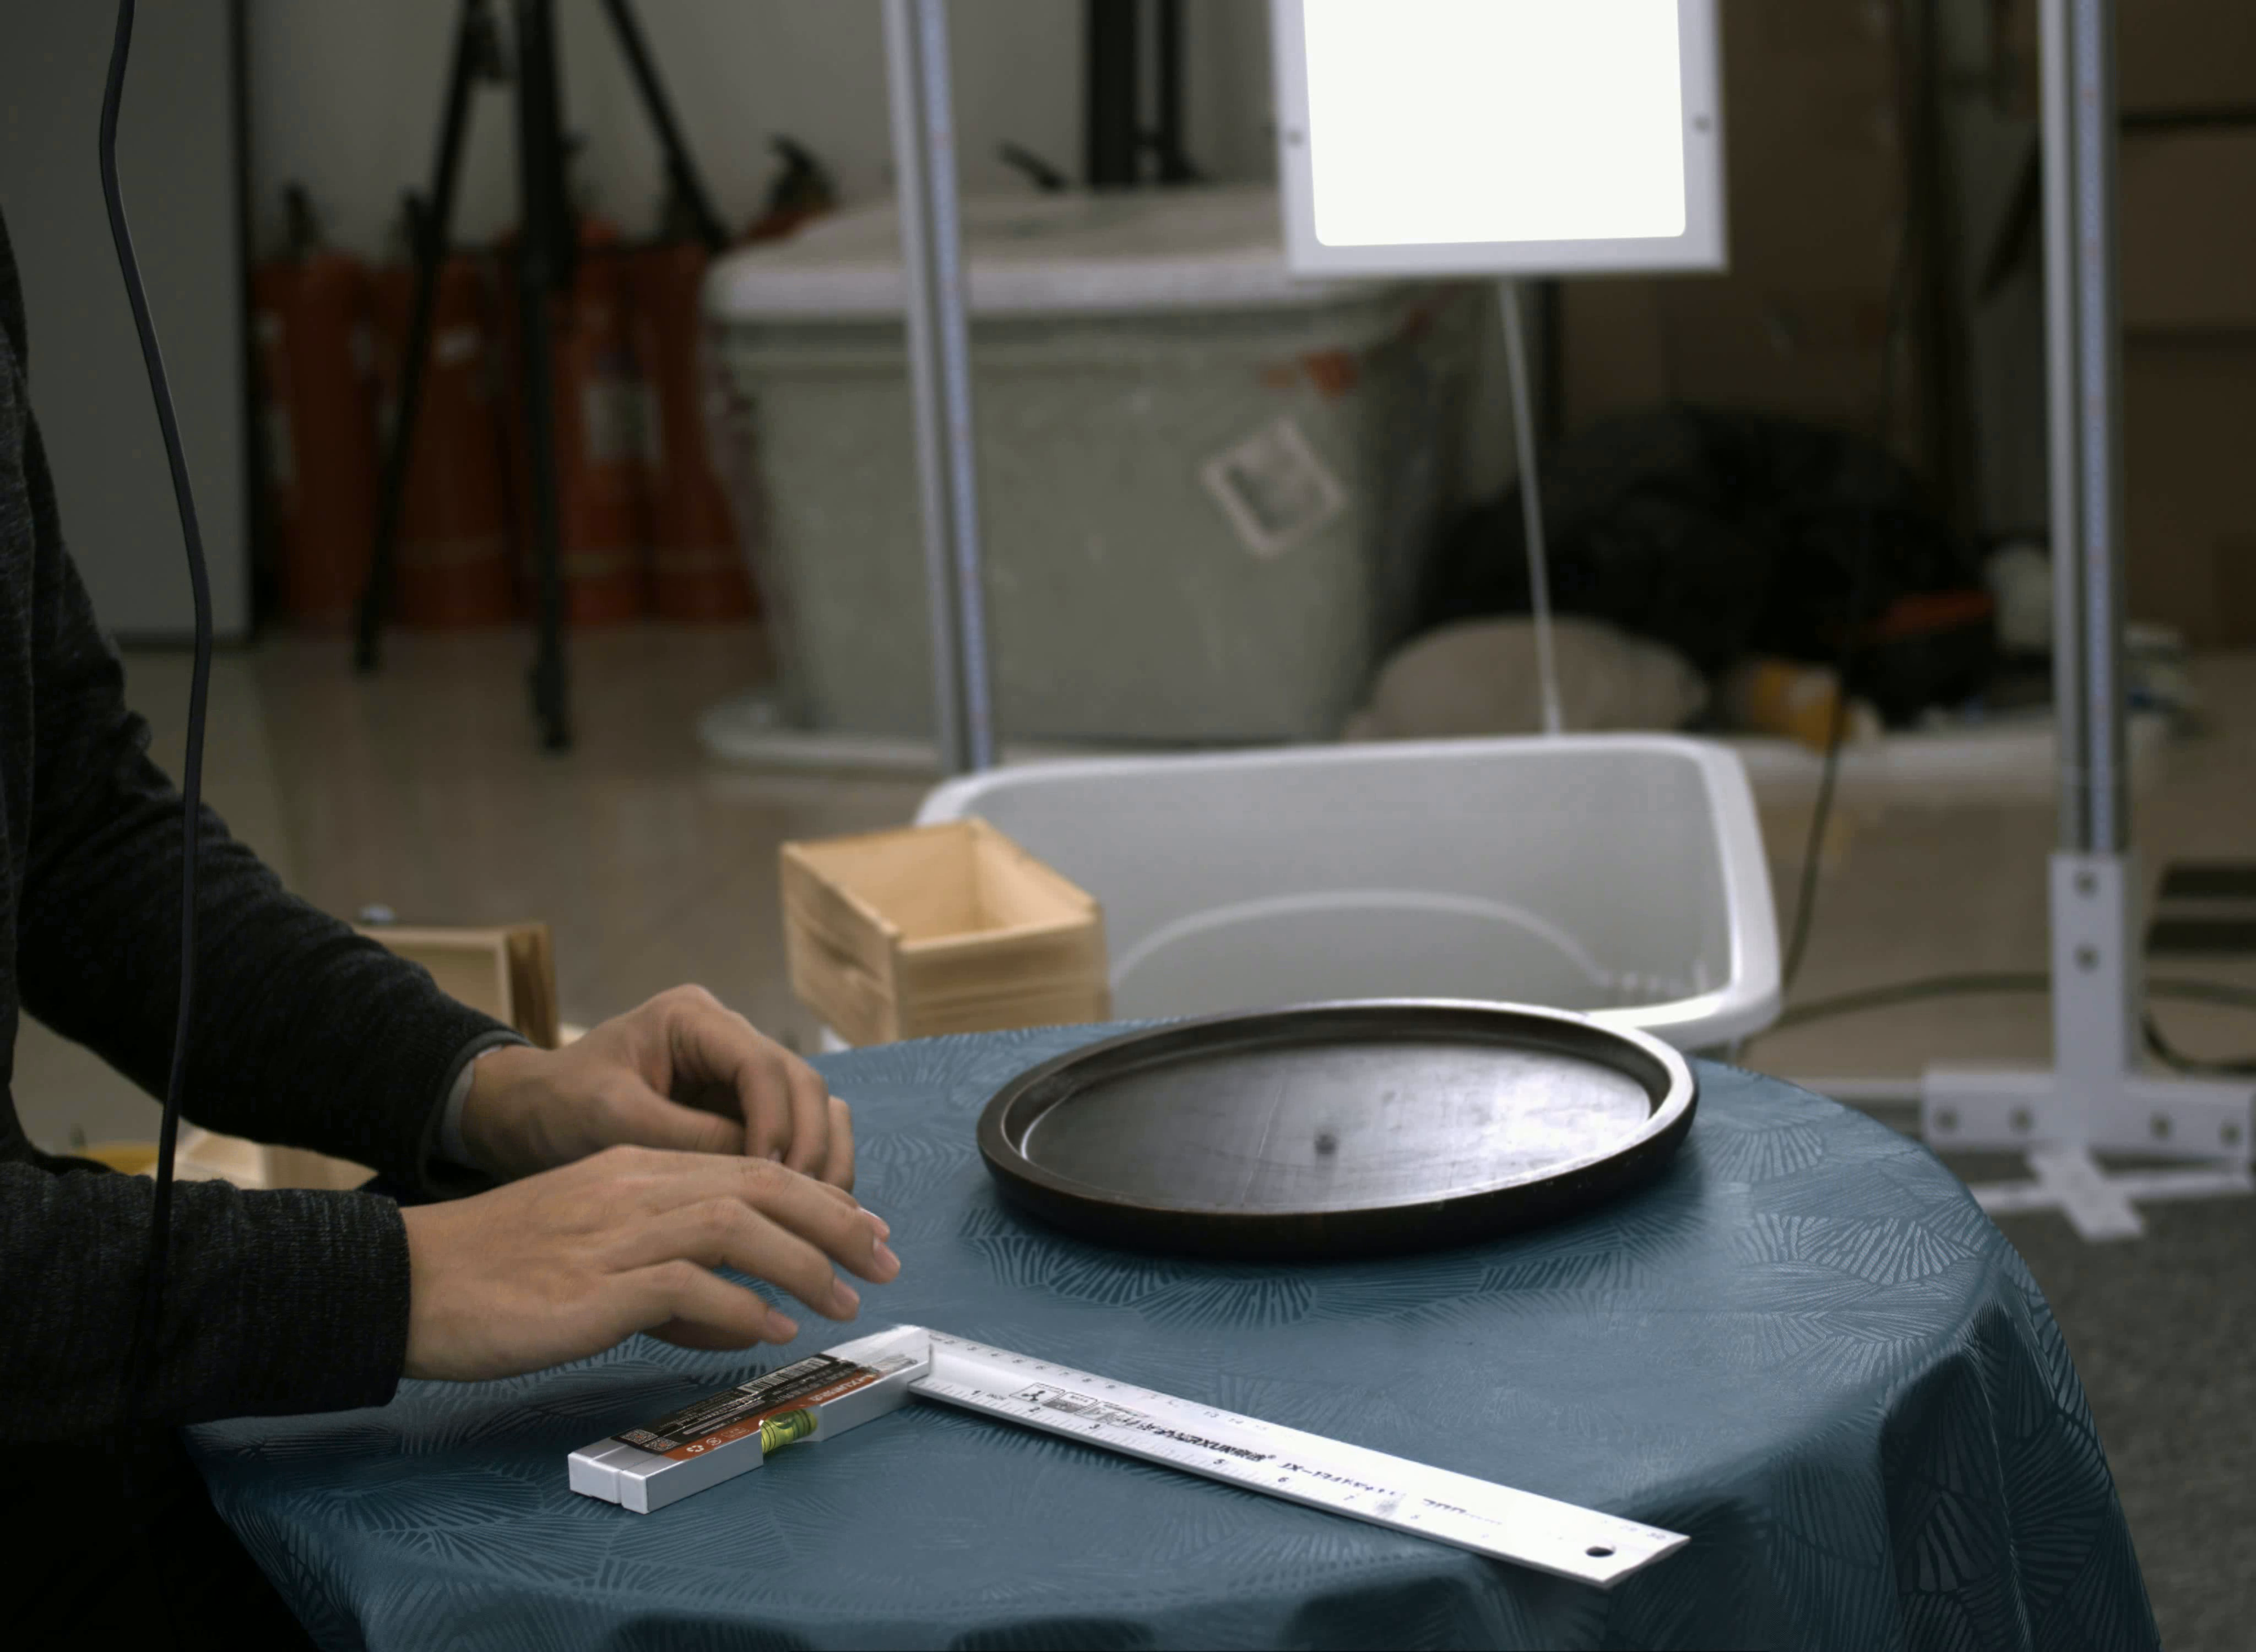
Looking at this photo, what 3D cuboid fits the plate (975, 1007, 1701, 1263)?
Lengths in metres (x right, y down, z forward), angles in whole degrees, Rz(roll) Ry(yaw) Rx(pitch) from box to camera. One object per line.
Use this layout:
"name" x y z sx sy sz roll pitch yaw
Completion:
"plate" 0.073 0.105 1.912 0.254 0.029 0.254 -5 15 0

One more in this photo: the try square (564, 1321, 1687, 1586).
"try square" -0.006 0.197 1.600 0.319 0.016 0.148 10 21 44
